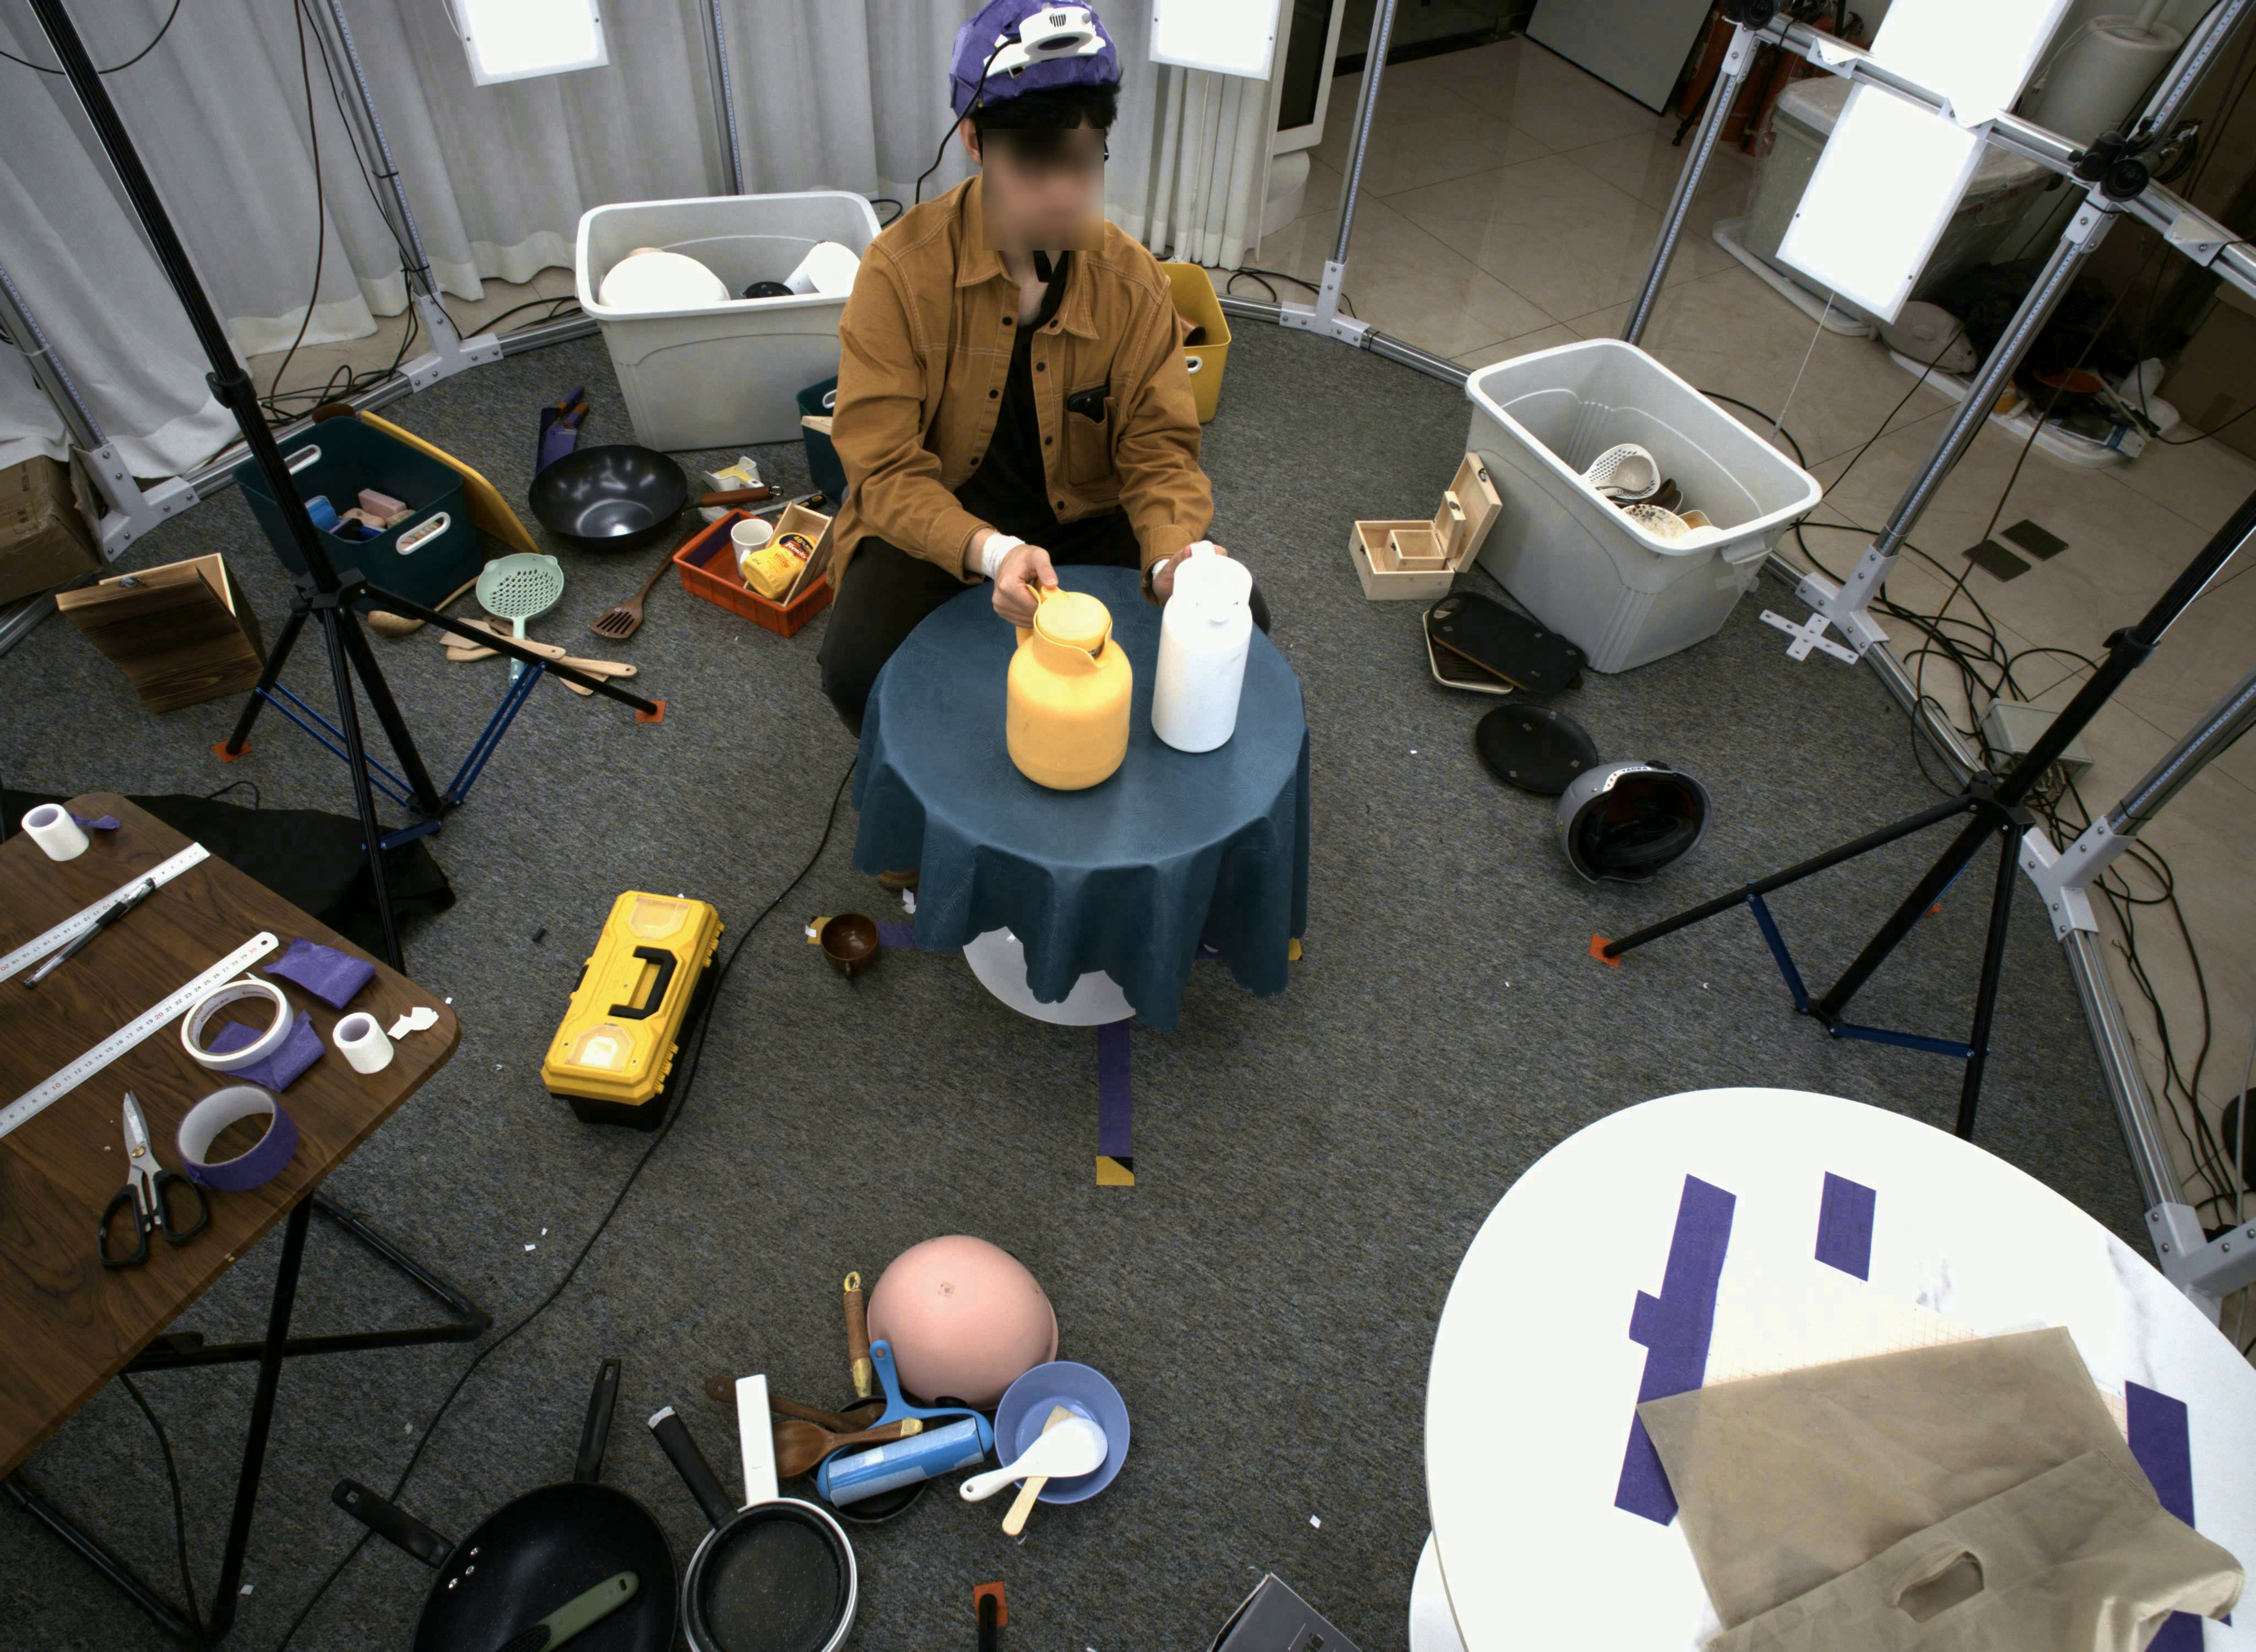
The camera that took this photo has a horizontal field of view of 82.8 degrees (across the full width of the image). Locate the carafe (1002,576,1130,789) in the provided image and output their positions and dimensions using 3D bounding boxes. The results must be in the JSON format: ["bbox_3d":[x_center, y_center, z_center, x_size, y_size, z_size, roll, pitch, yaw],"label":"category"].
[{"bbox_3d":[-0.087,-0.193,1.661,0.164,0.254,0.207,-19,55,-23],"label":"carafe"}]

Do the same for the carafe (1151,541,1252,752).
[{"bbox_3d":[0.094,-0.240,1.711,0.124,0.262,0.177,-4,50,-5],"label":"carafe"}]
